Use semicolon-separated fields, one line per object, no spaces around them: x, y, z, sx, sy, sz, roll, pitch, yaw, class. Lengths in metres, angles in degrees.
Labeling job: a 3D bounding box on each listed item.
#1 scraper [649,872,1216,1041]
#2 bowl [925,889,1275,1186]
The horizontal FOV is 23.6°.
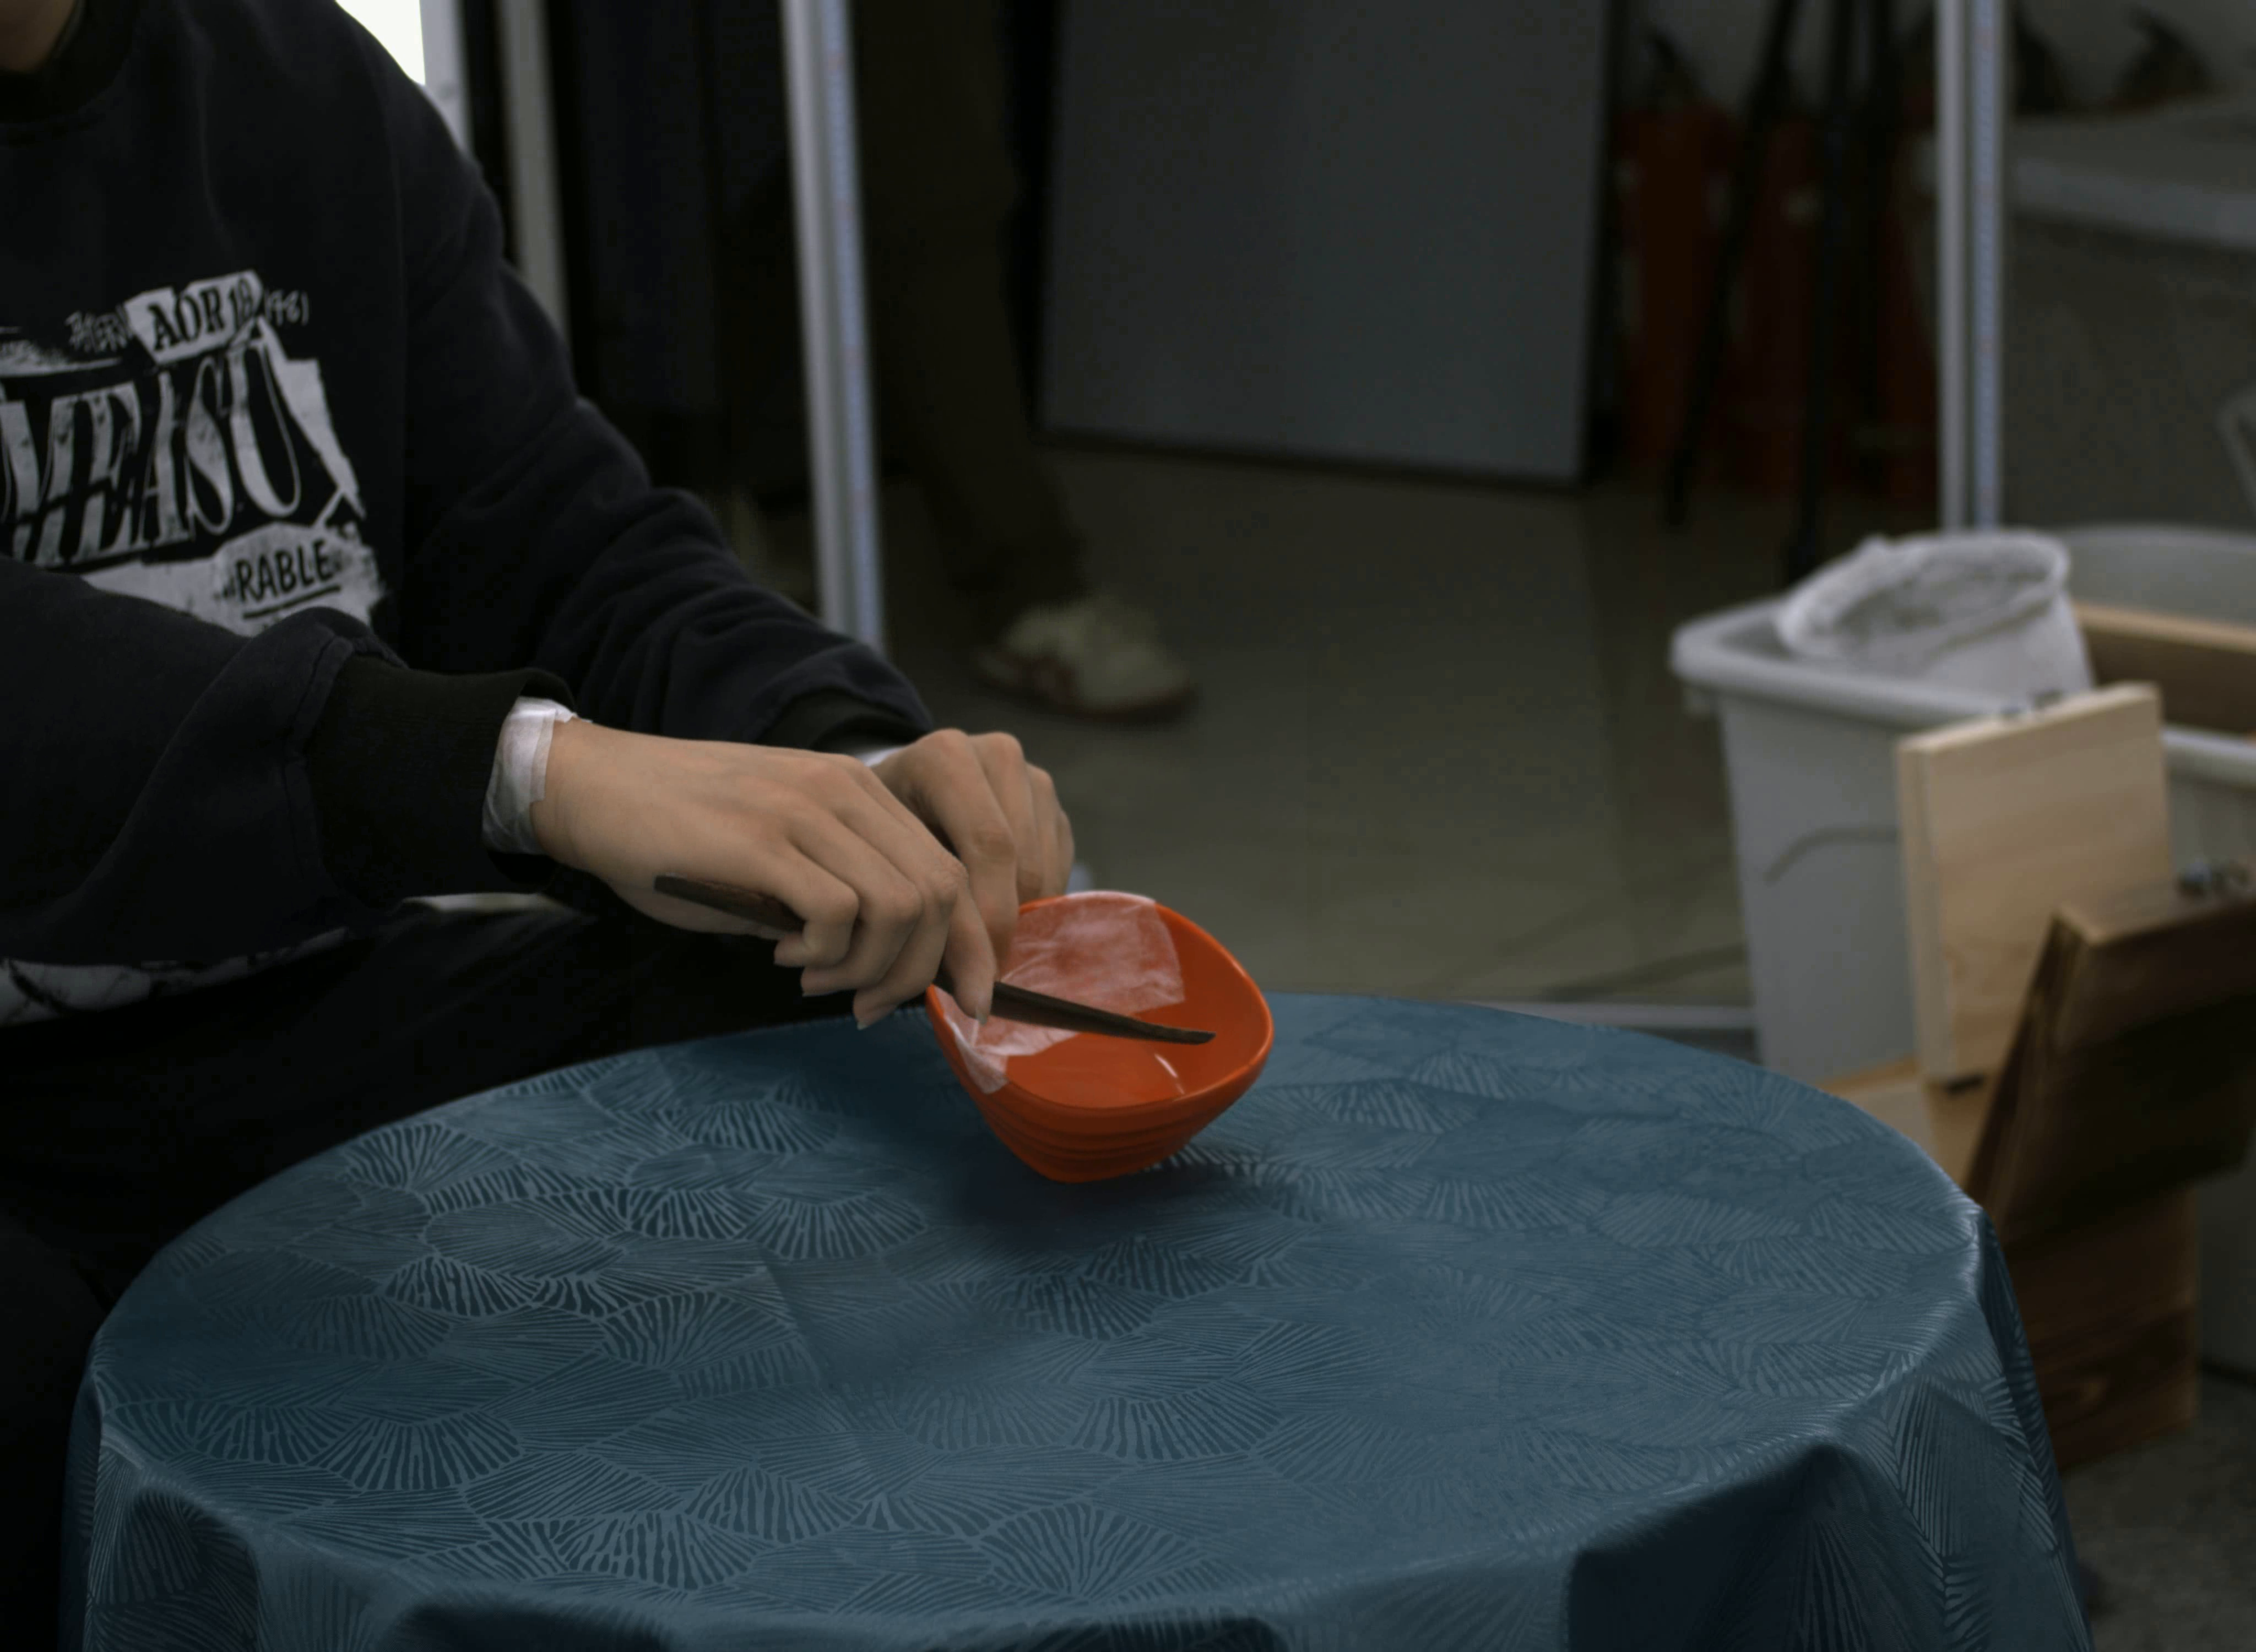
-0.065;0.043;1.689;0.207;0.011;0.076;20;-11;-41;scraper
-0.012;0.077;1.797;0.117;0.052;0.120;6;37;-6;bowl
